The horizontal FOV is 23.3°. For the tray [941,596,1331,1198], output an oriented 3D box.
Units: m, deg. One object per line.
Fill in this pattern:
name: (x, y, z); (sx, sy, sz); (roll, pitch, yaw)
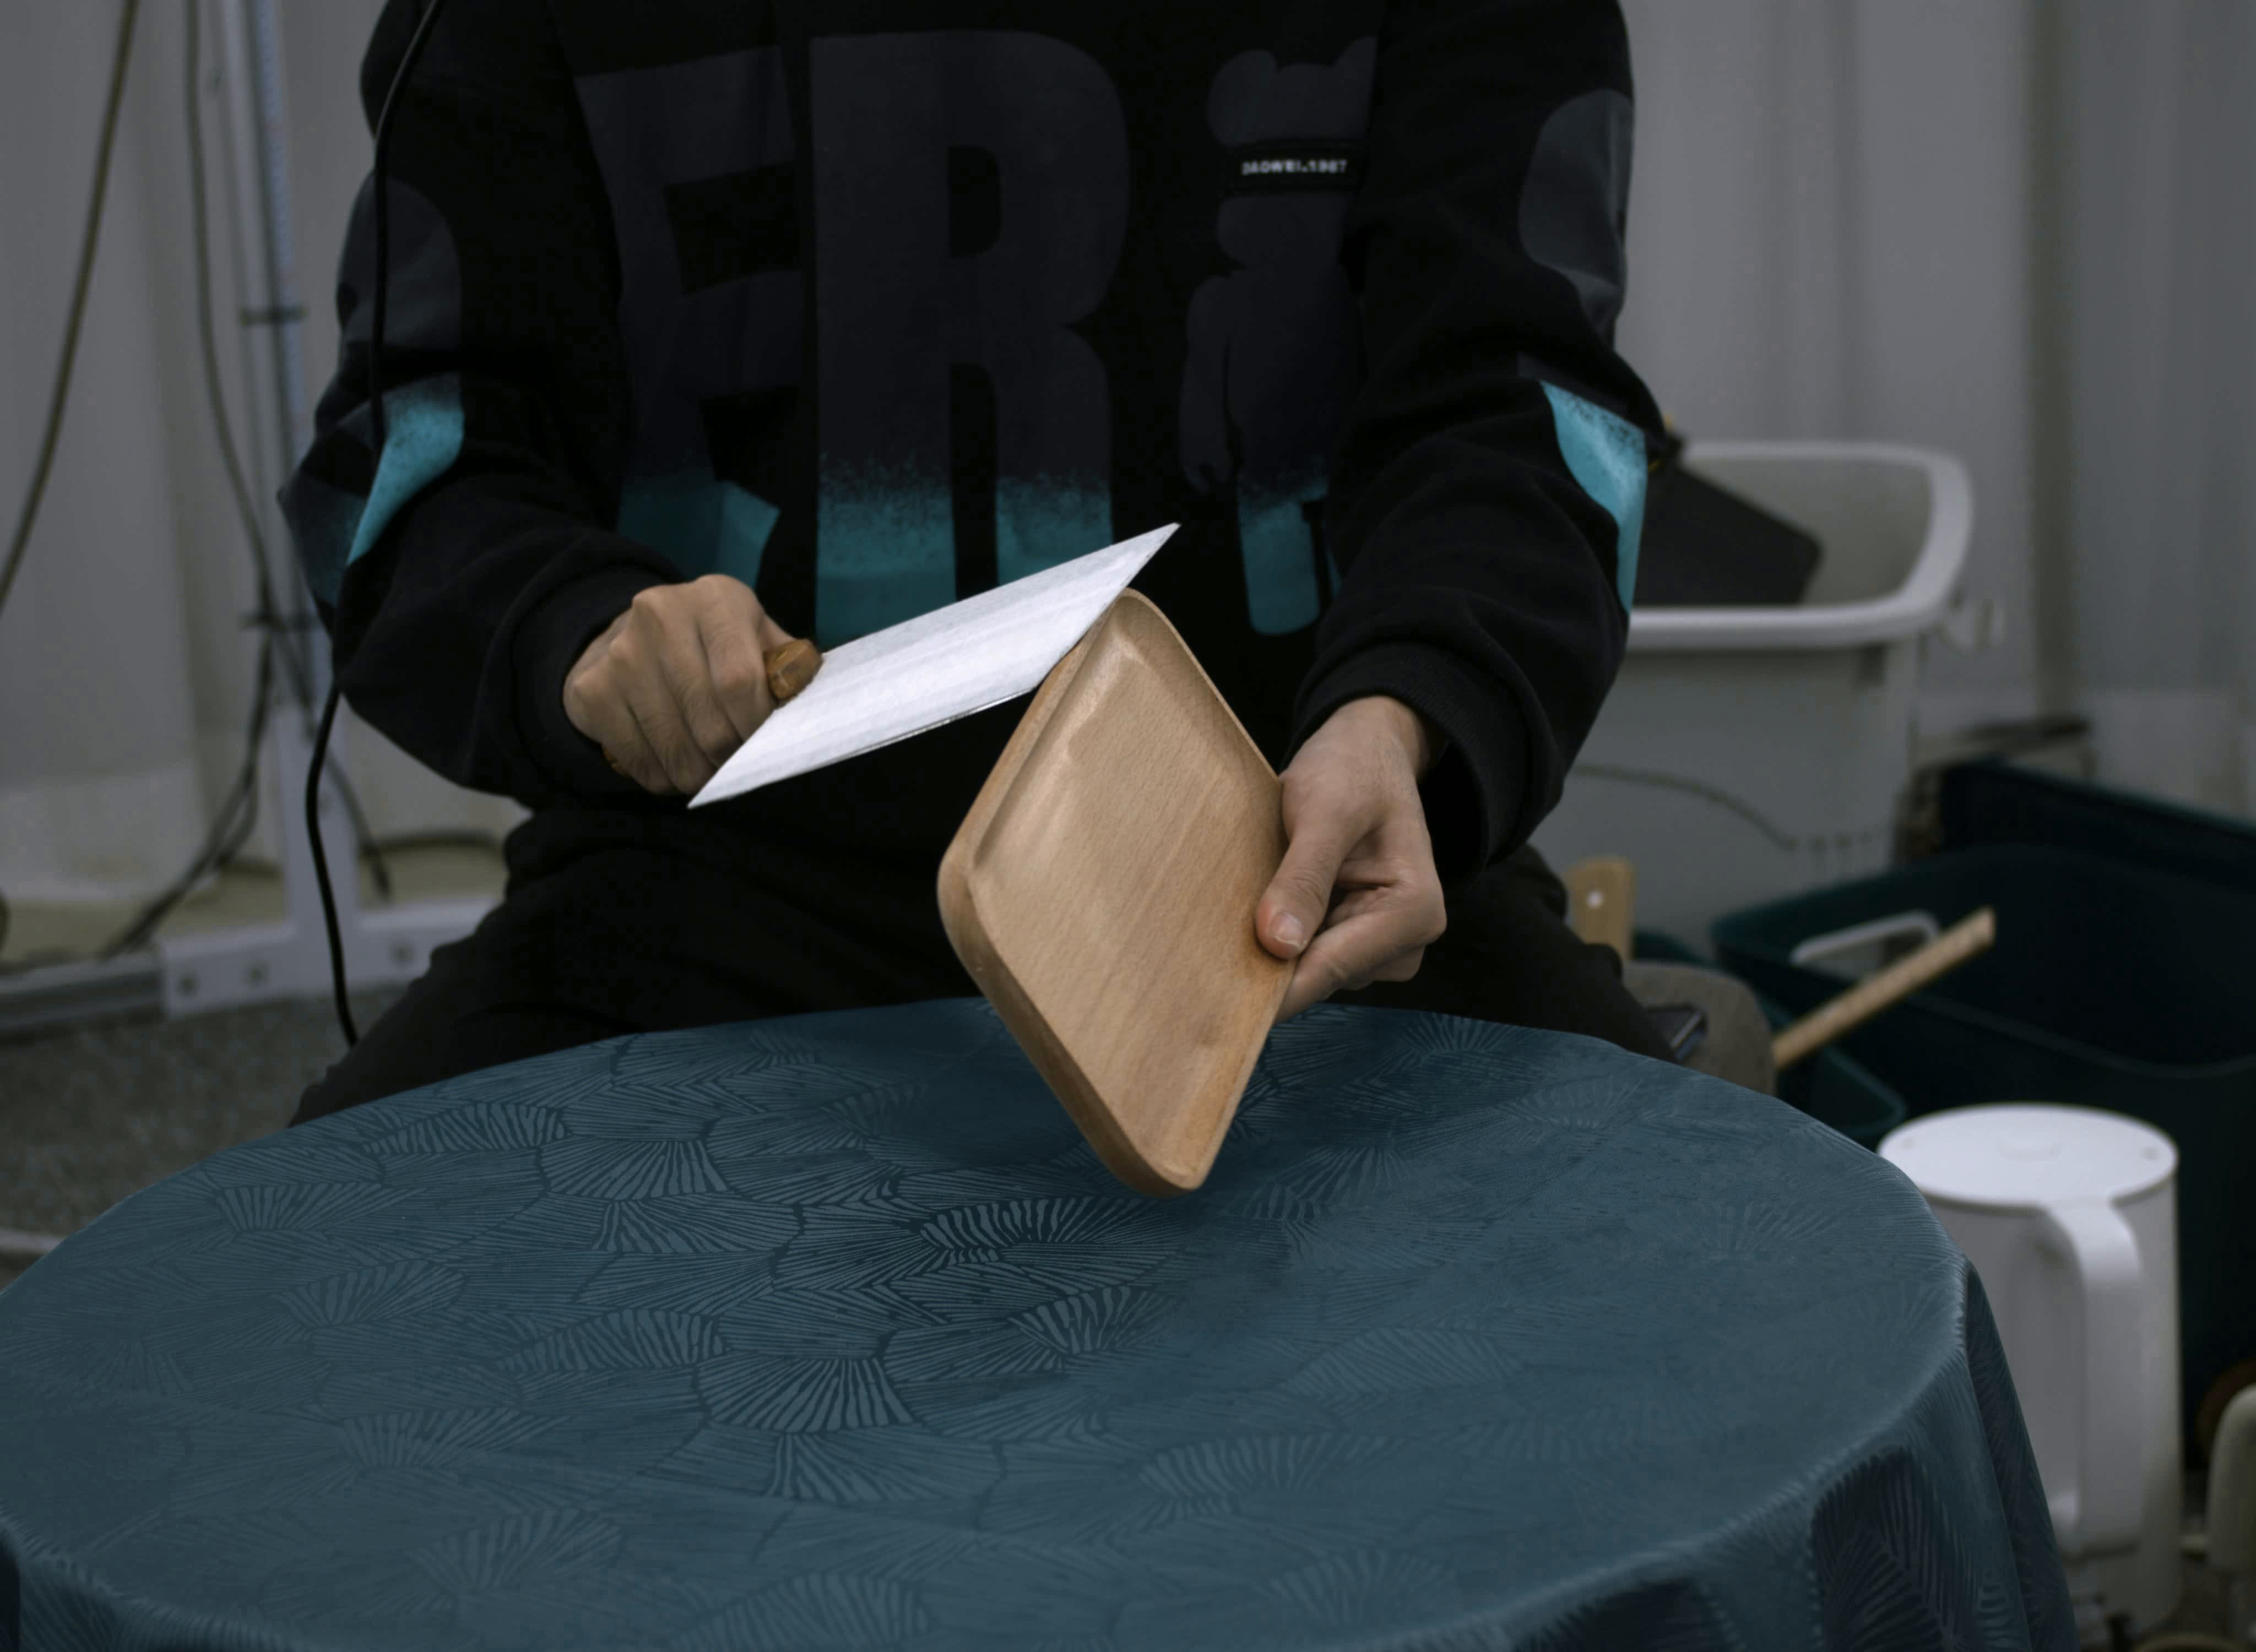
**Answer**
tray: (0.005, 0.019, 1.681); (0.023, 0.130, 0.252); (-28, 13, 21)

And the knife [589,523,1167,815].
knife: (-0.101, -0.041, 1.838); (0.305, 0.021, 0.093); (-17, 27, 49)
